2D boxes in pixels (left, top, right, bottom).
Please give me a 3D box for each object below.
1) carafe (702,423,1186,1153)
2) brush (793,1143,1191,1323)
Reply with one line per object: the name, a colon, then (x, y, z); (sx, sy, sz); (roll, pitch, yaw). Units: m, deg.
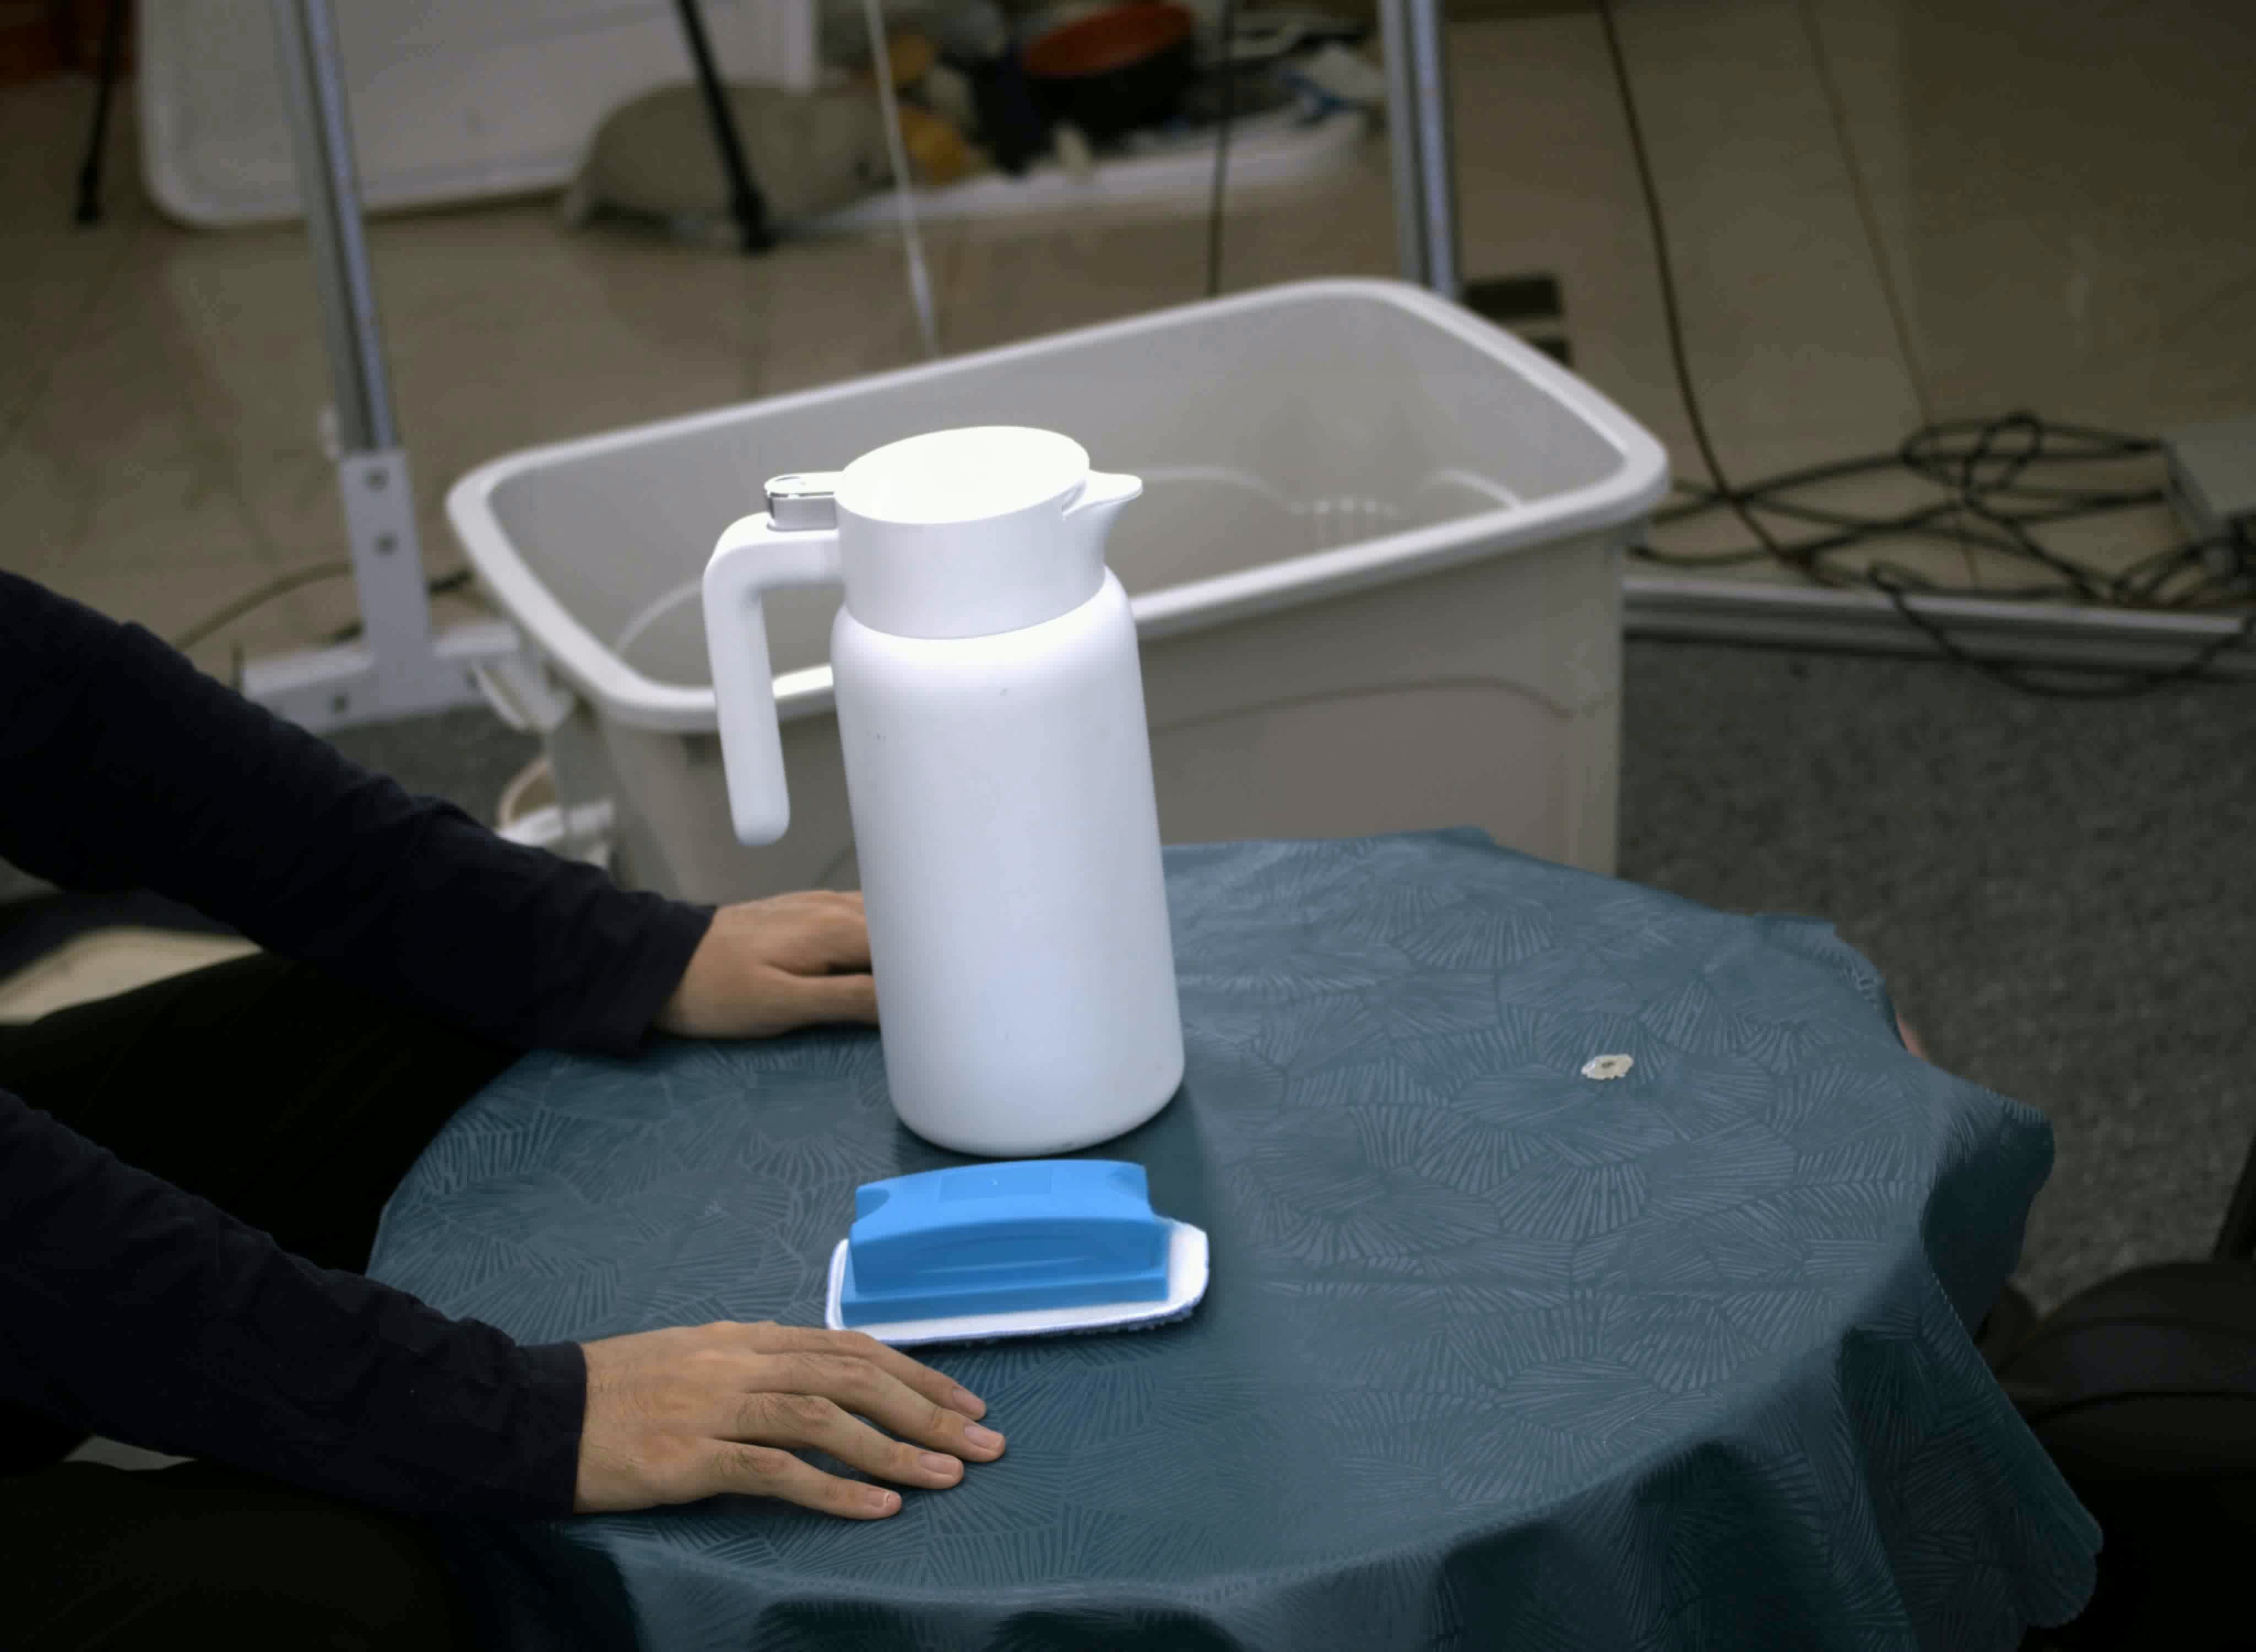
carafe: (-0.066, -0.012, 2.168); (0.172, 0.273, 0.122); (-4, 27, 7)
brush: (-0.050, 0.146, 2.068); (0.144, 0.057, 0.083); (-1, 23, 4)
